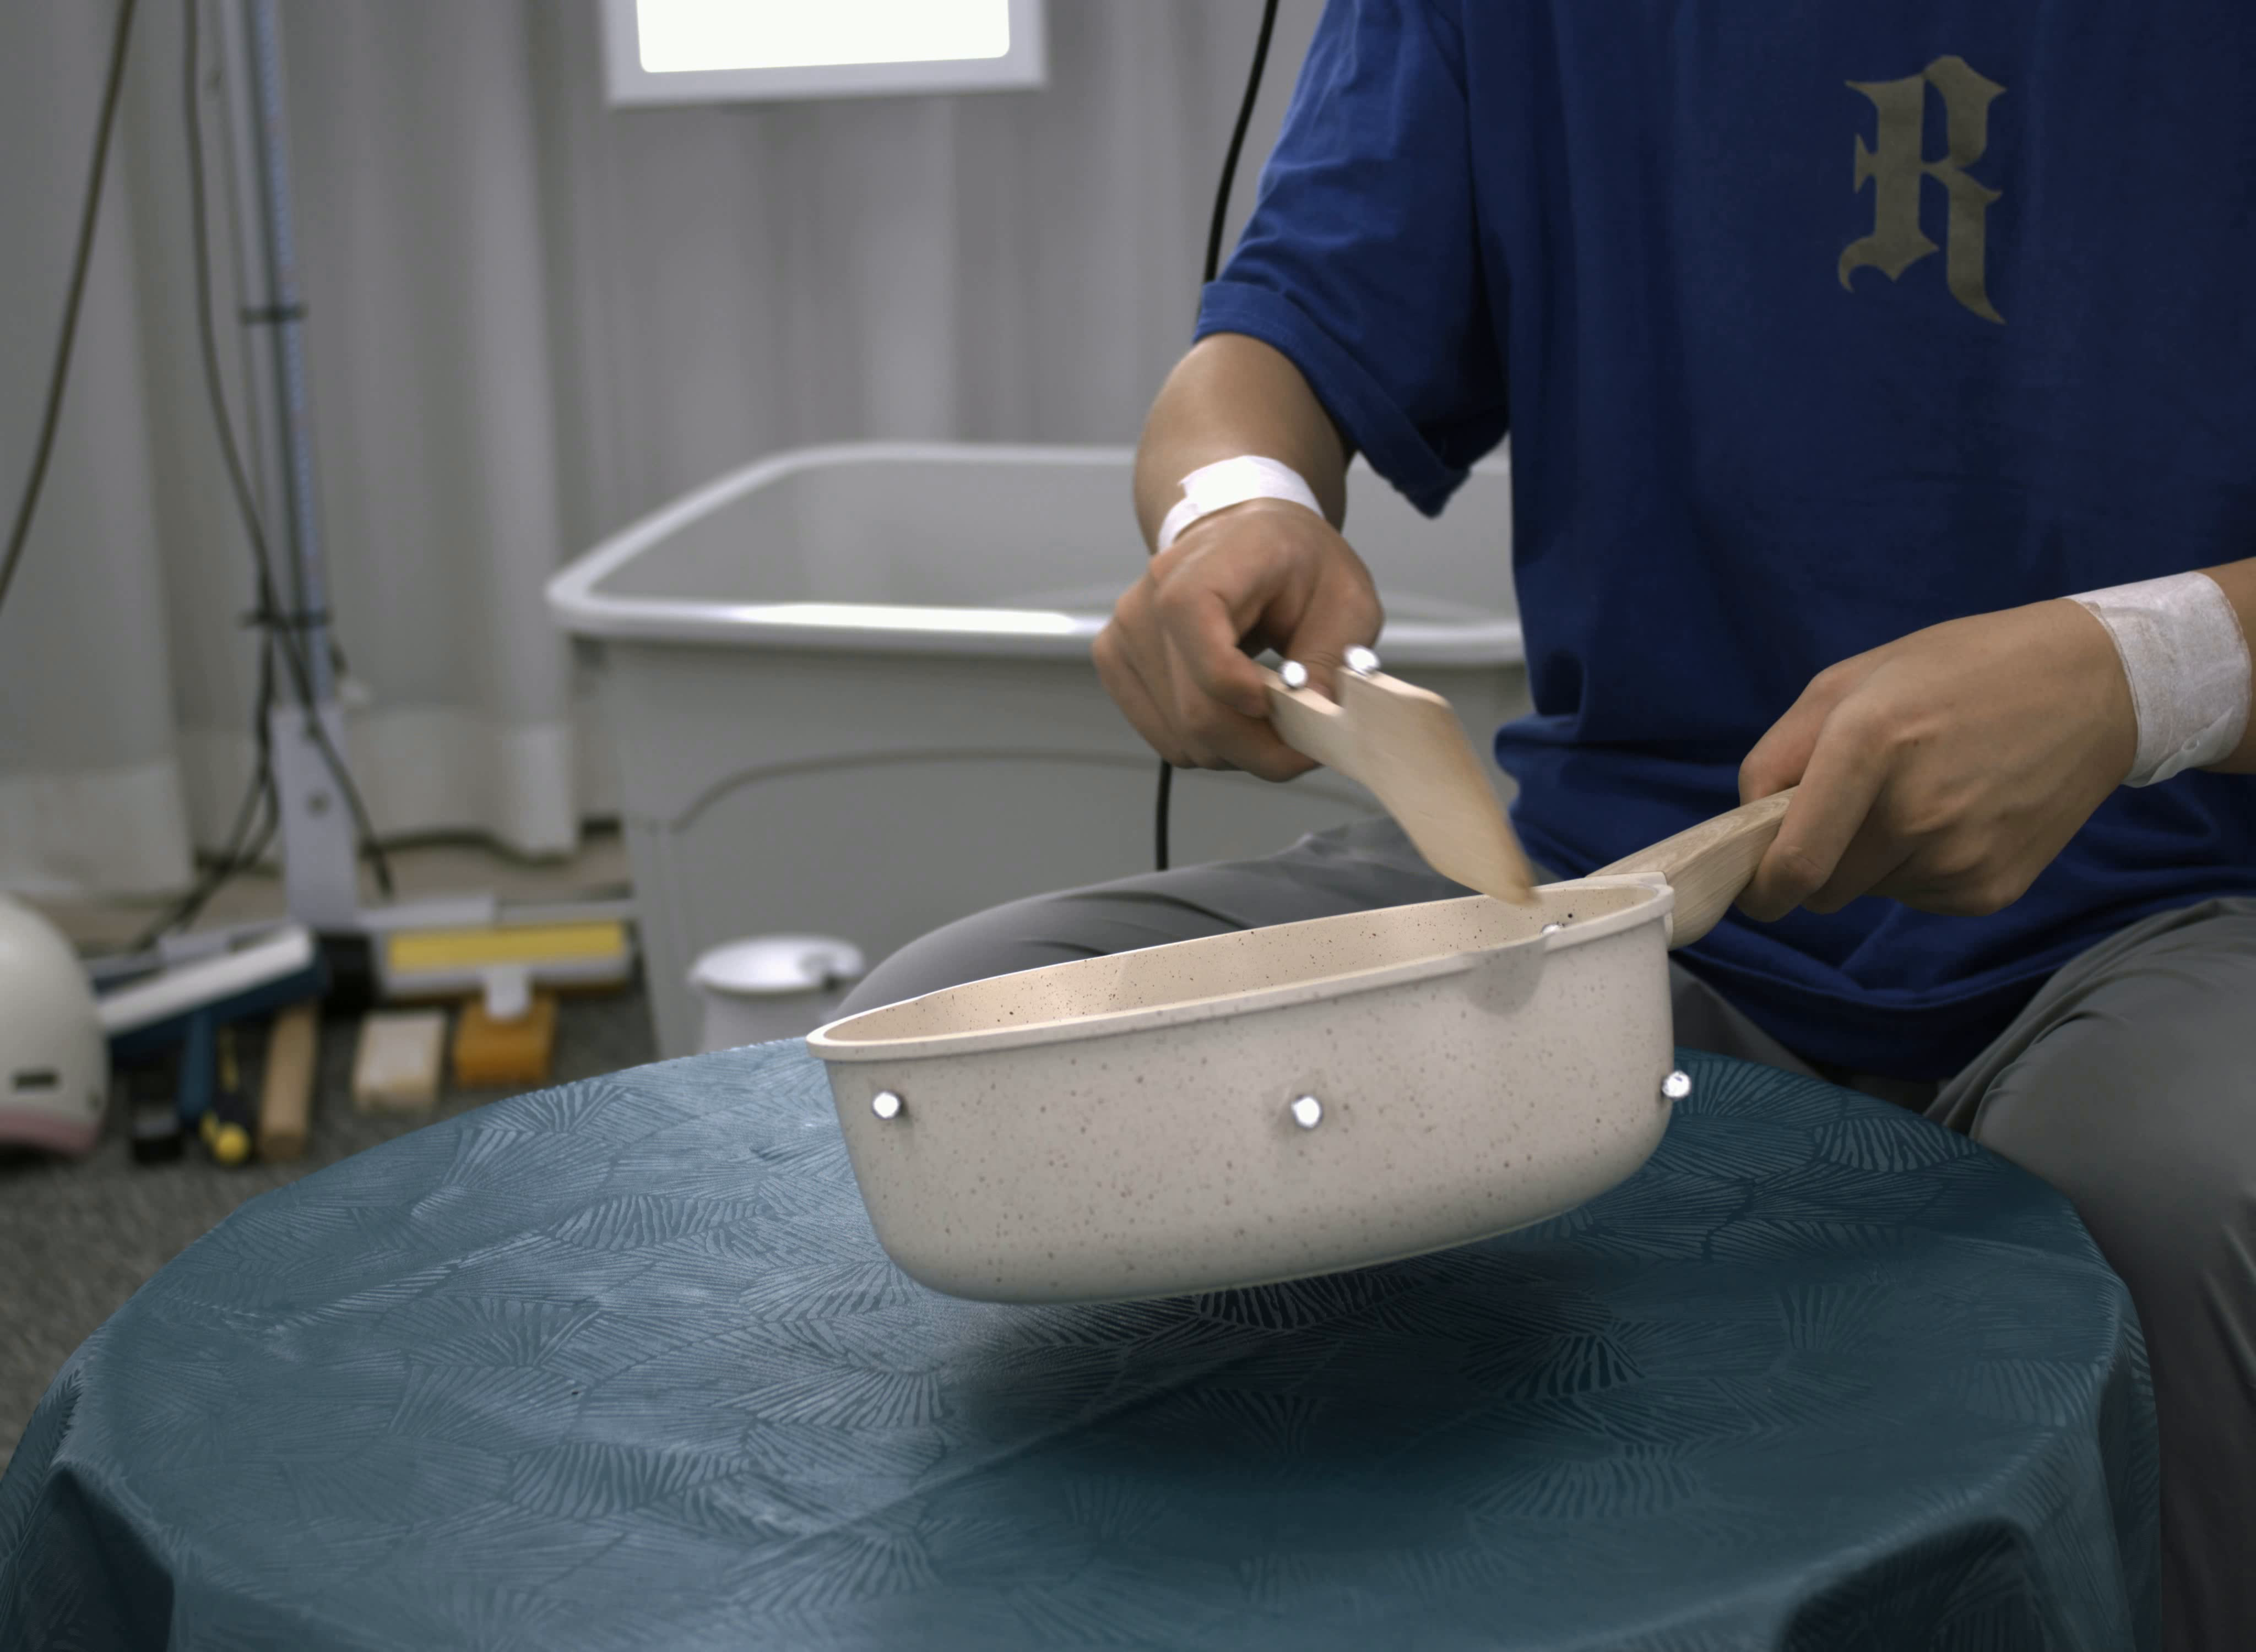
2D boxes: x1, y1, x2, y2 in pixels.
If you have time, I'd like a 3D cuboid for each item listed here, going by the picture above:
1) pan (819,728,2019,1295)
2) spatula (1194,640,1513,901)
[{"bbox_3d":[0.114,0.053,1.605,0.433,0.102,0.263,-11,1,-36],"label":"pan"},{"bbox_3d":[0.060,-0.030,1.691,0.010,0.072,0.294,-29,14,-7],"label":"spatula"}]
